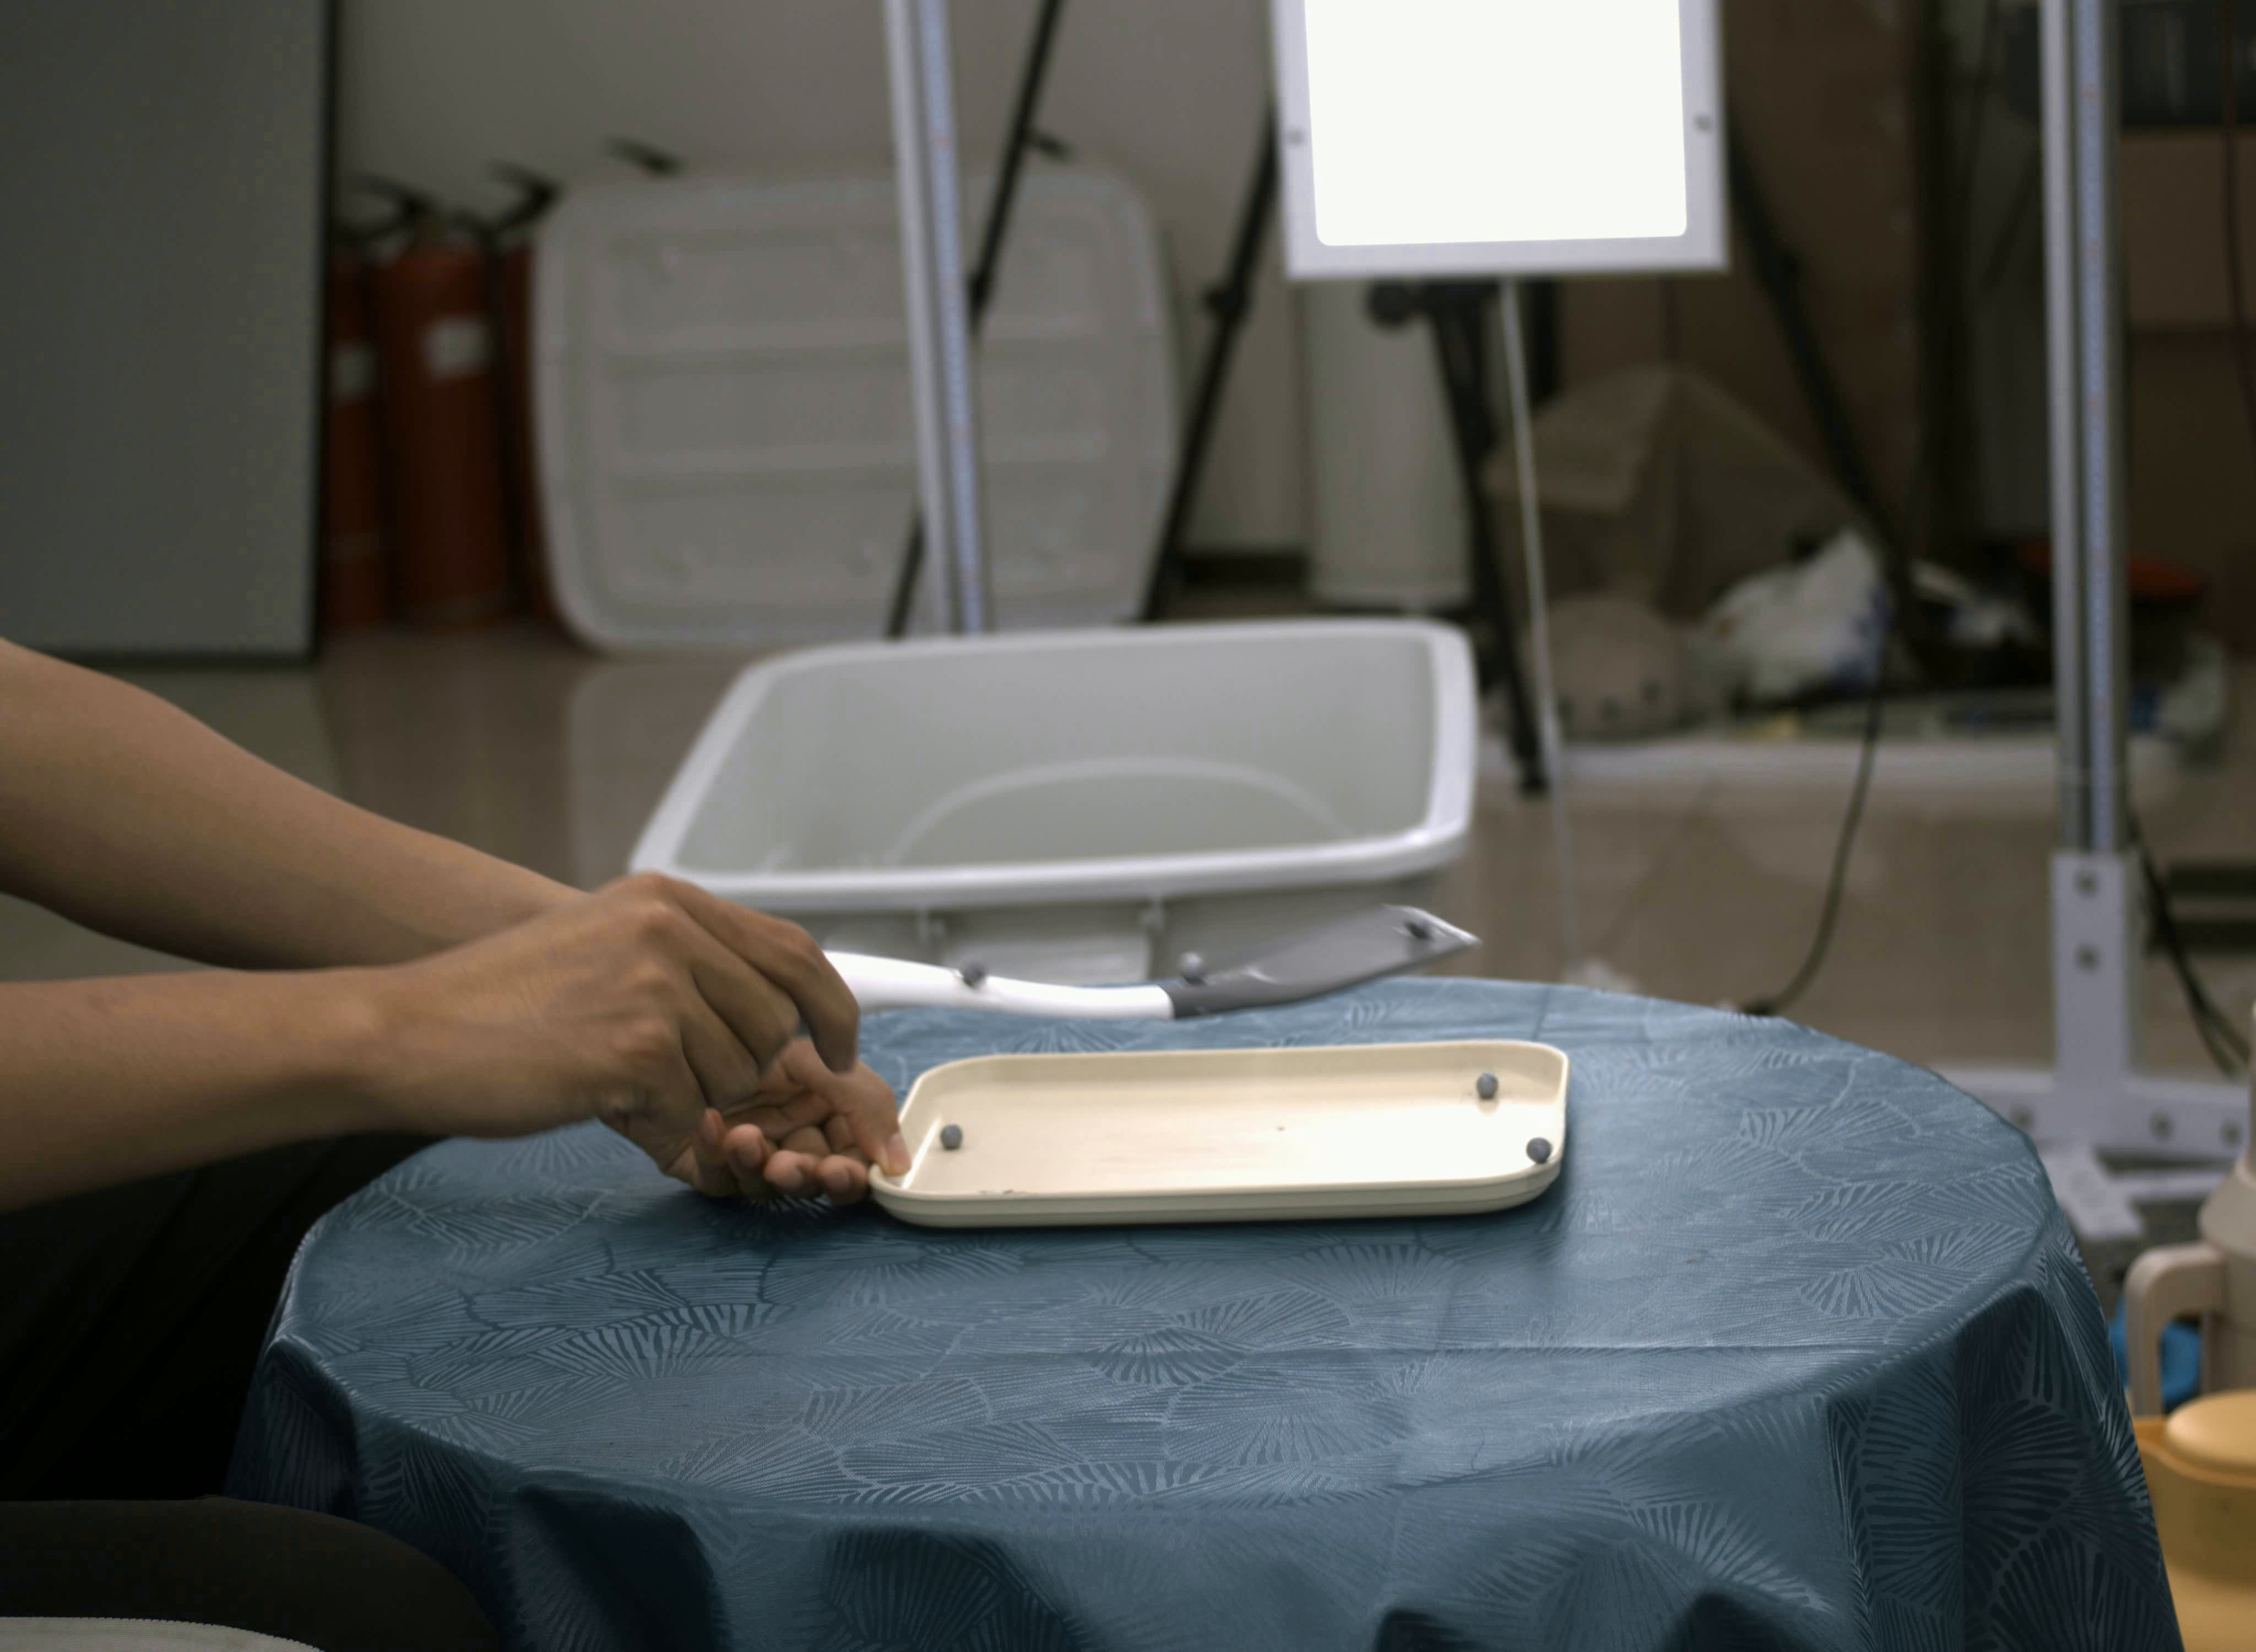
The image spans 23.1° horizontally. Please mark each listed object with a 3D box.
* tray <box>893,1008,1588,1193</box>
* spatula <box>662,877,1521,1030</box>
[{"bbox_3d":[0.043,0.098,1.939,0.241,0.017,0.170,-3,13,9],"label":"tray"},{"bbox_3d":[-0.009,0.039,1.727,0.281,0.032,0.059,-3,10,-26],"label":"spatula"}]
